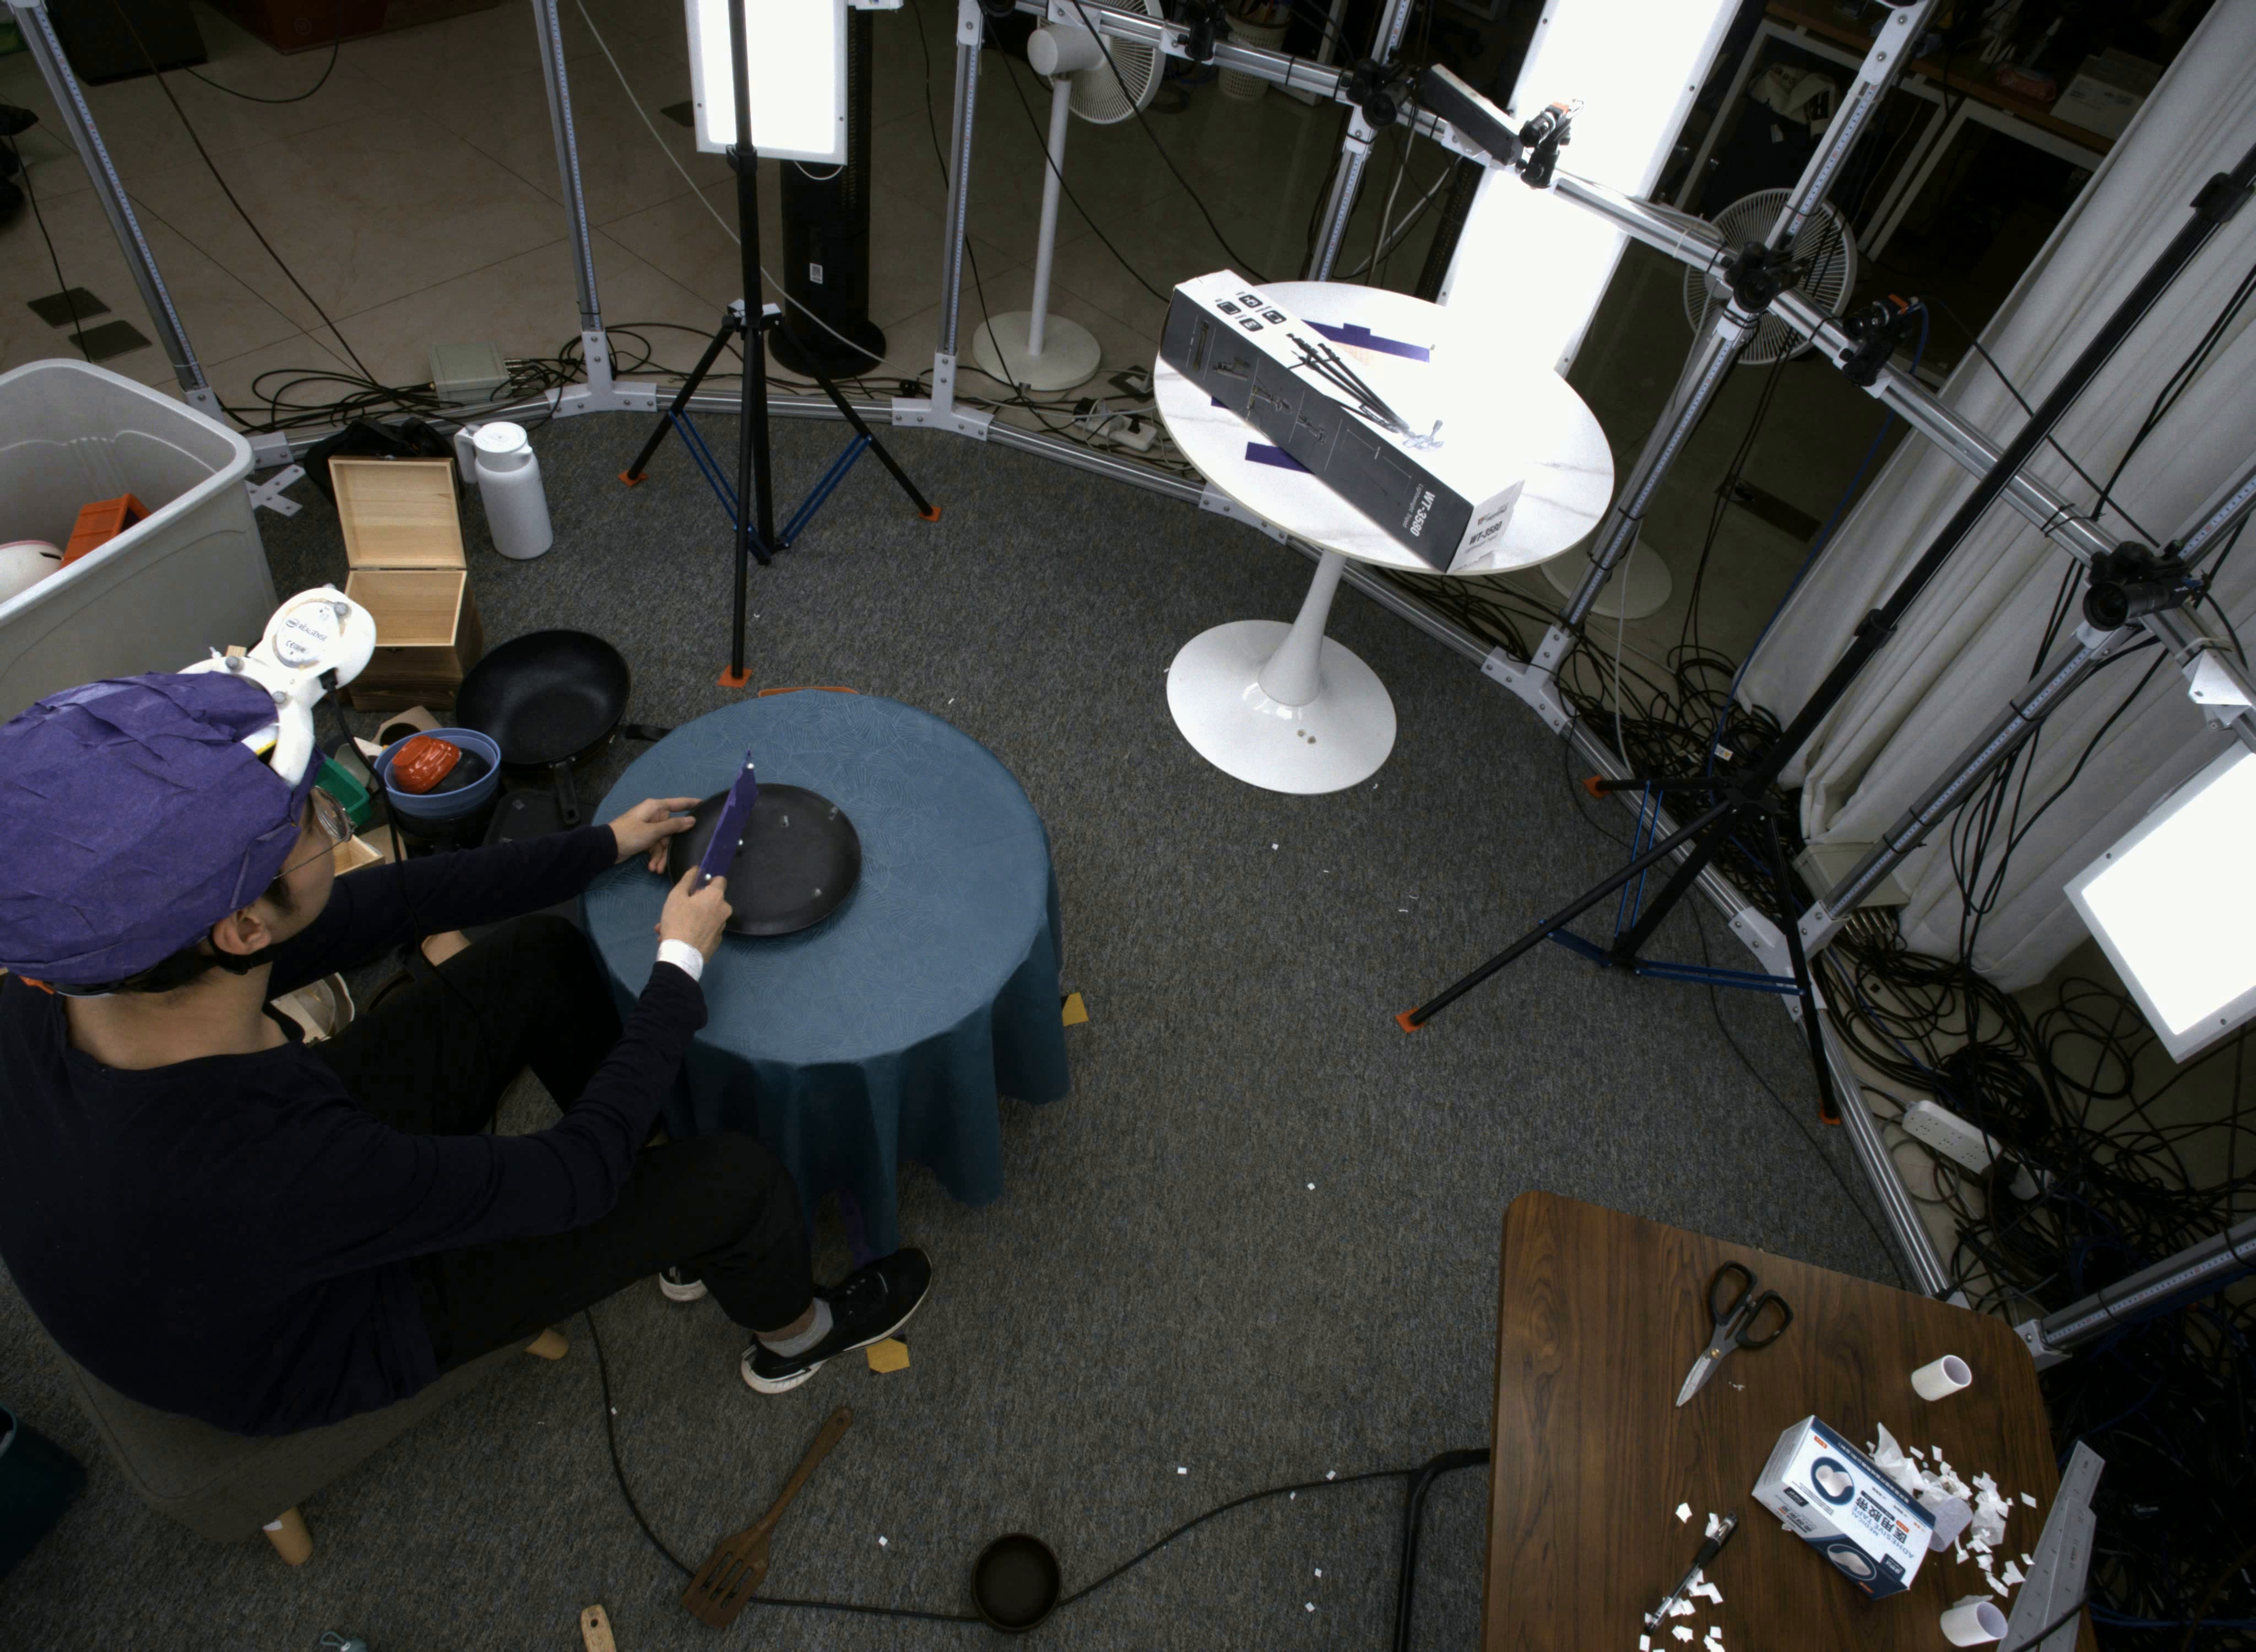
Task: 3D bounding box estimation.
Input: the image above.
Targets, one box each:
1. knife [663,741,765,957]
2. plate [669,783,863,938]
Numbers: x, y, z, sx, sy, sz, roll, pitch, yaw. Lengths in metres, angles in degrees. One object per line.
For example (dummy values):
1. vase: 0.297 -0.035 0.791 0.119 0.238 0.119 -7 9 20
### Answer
1. knife: -0.502 0.040 1.596 0.032 0.106 0.311 9 52 2
2. plate: -0.466 0.045 1.674 0.244 0.024 0.240 8 53 -9
